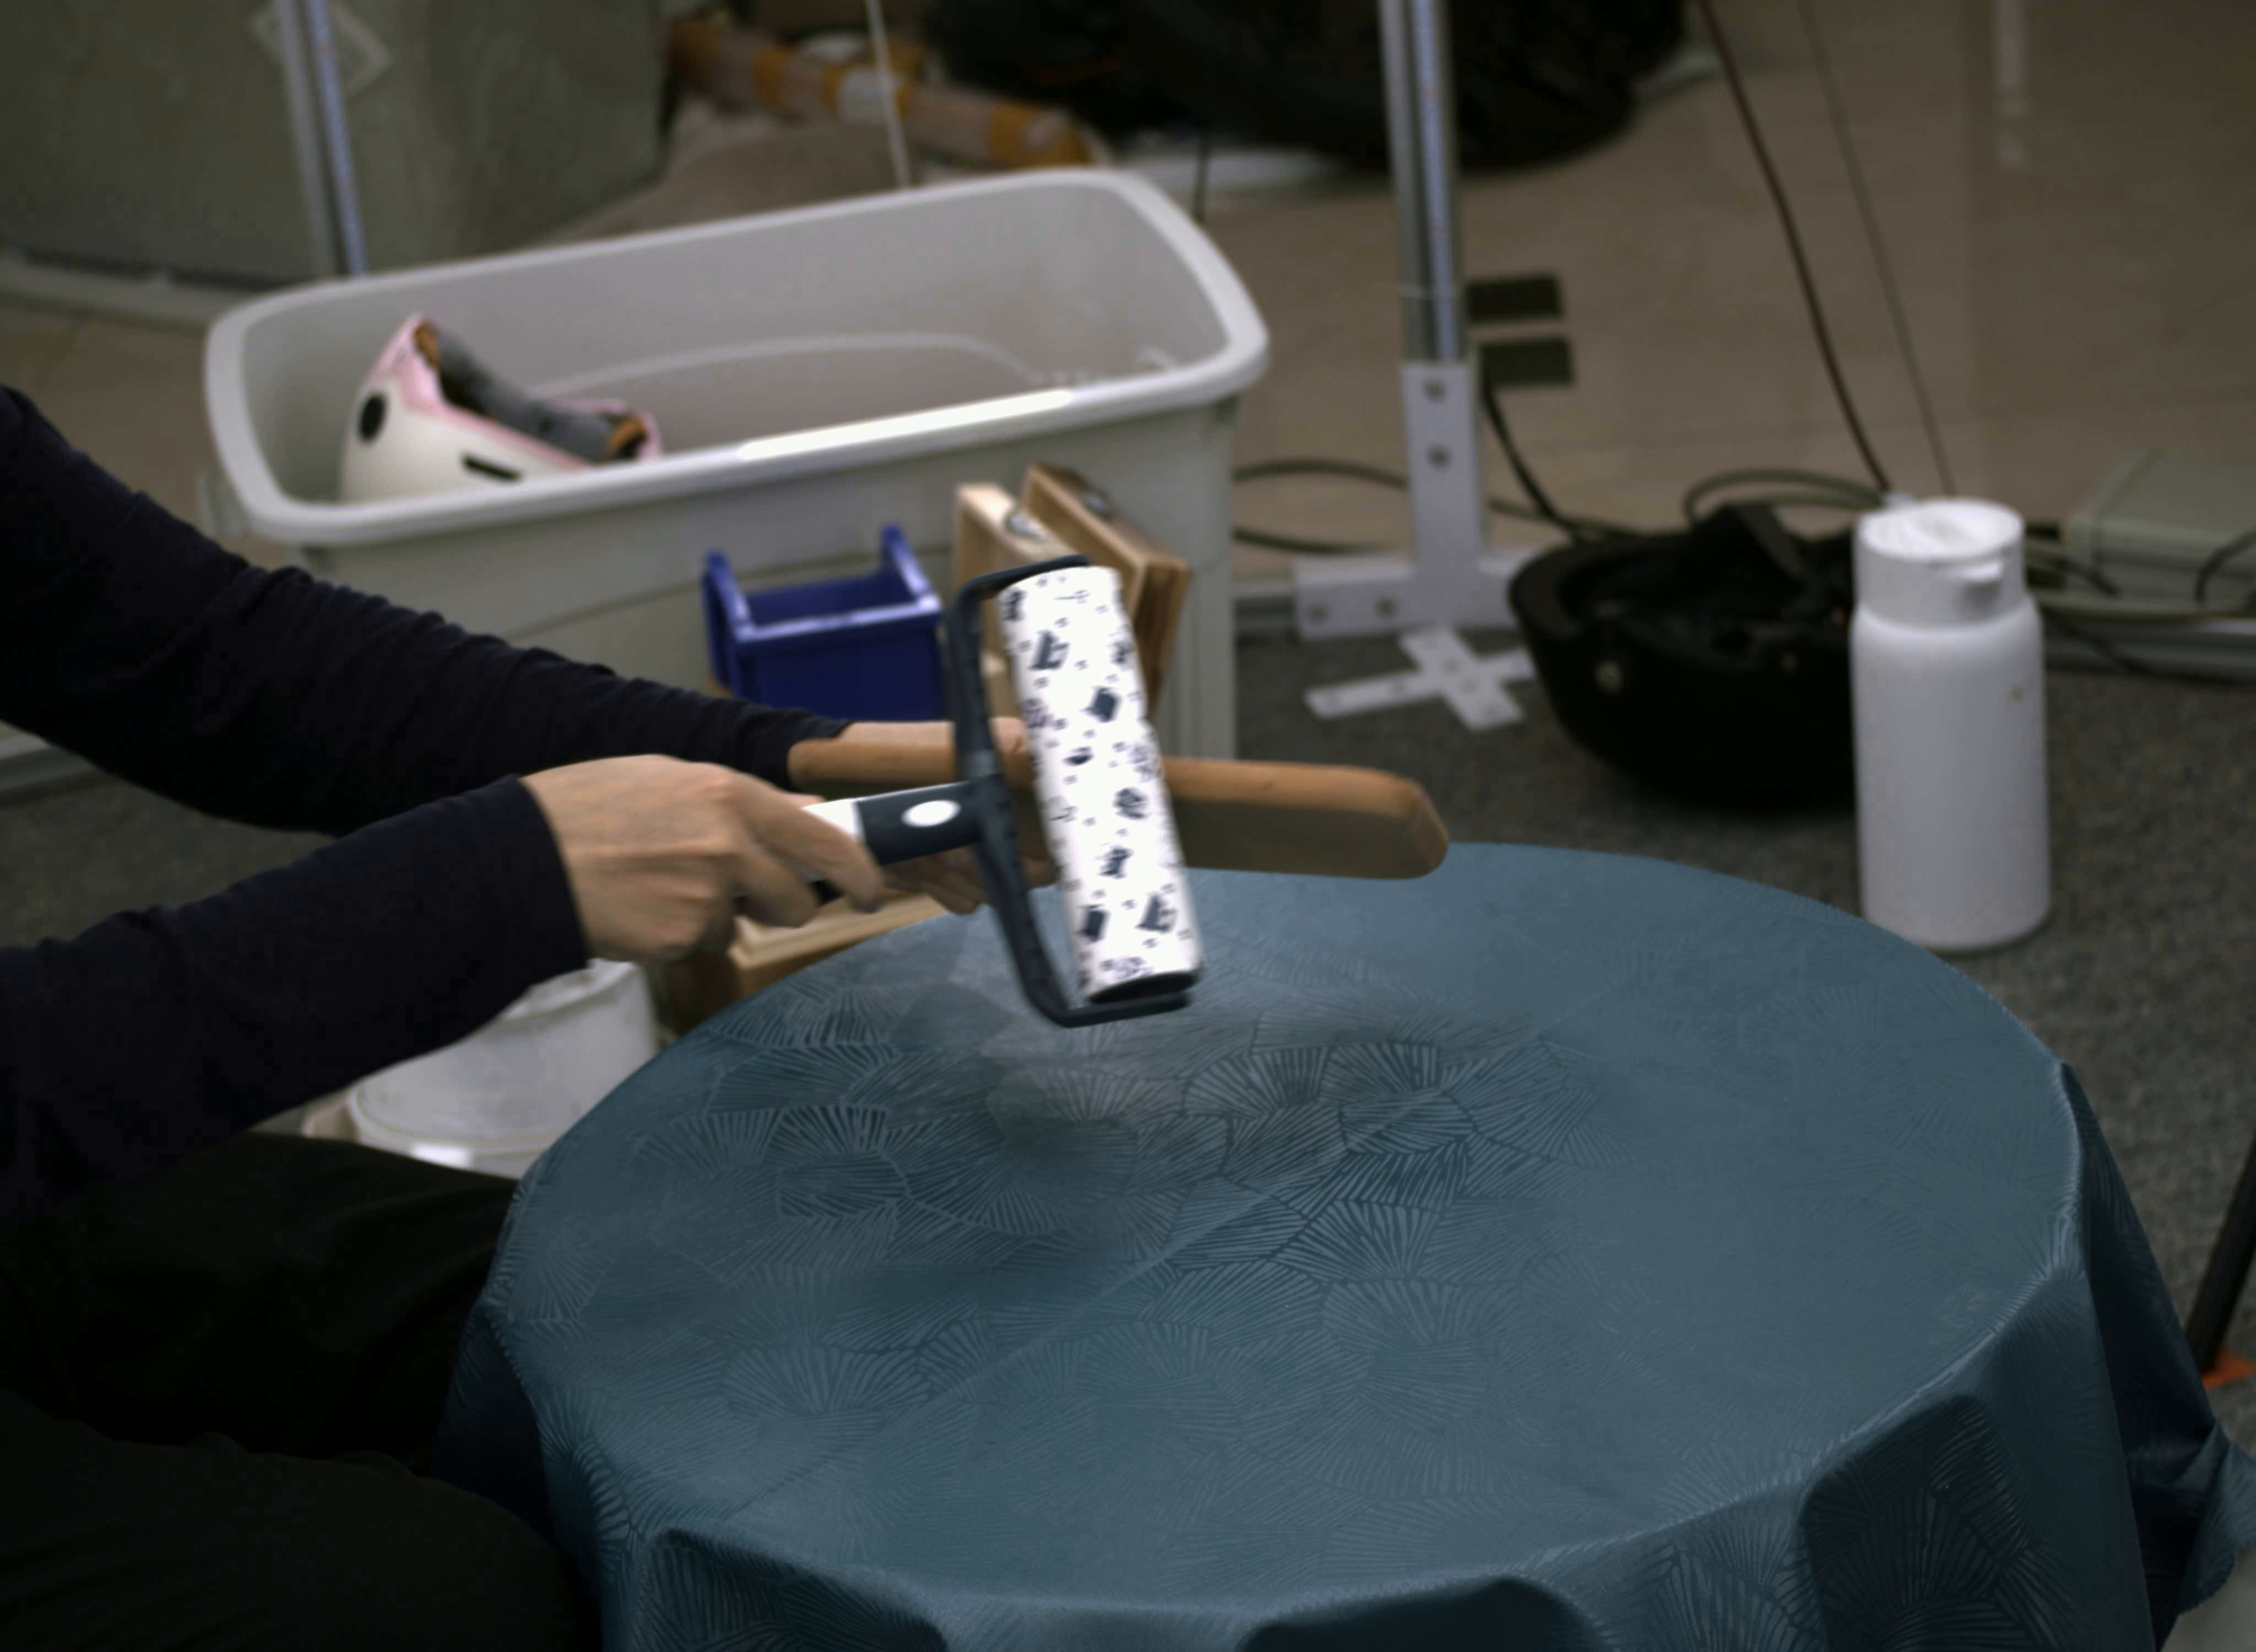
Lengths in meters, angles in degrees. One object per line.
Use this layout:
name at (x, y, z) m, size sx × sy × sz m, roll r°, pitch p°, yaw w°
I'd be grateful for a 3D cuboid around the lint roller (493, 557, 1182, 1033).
lint roller at (-0.115, 0.007, 2.110) m, size 0.246 × 0.175 × 0.051 m, roll -12°, pitch -10°, yaw -6°

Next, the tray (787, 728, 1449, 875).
tray at (-0.004, -0.008, 2.209) m, size 0.250 × 0.132 × 0.022 m, roll 2°, pitch 72°, yaw 13°
